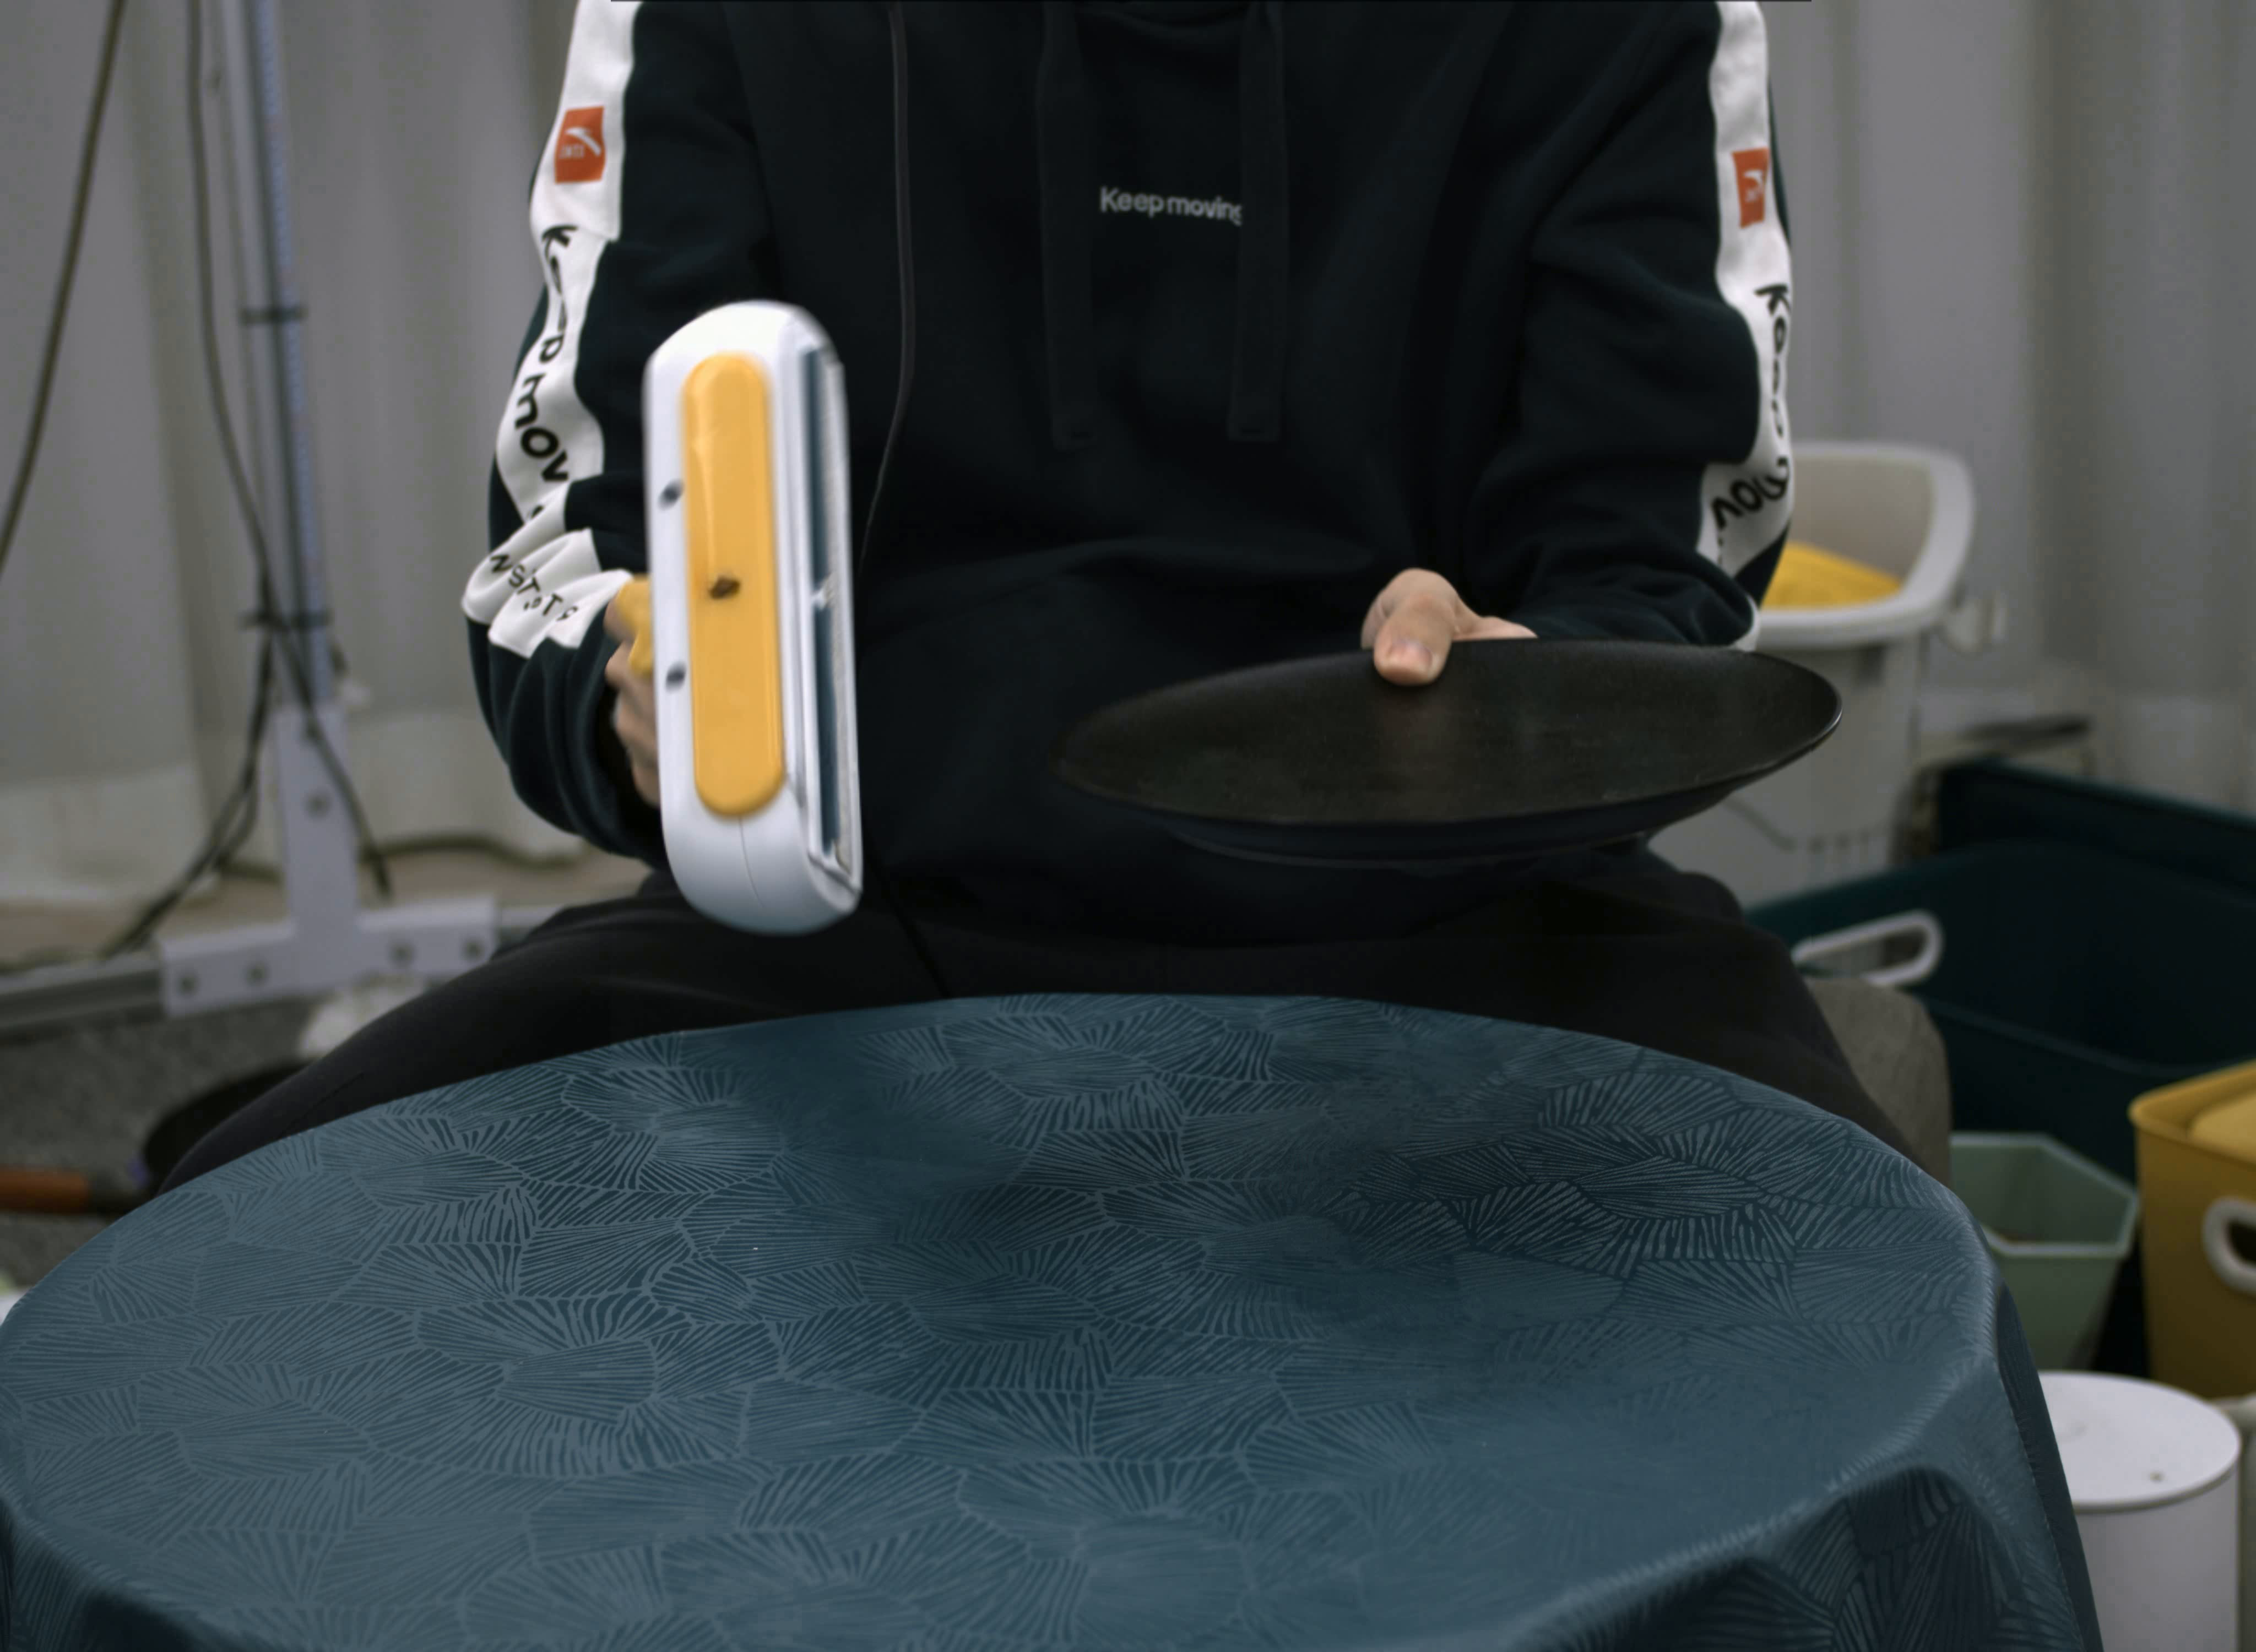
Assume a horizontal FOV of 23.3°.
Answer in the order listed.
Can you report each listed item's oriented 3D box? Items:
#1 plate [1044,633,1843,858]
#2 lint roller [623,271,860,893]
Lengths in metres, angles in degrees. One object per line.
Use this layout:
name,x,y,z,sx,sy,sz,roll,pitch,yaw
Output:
plate,0.097,-0.023,1.673,0.243,0.023,0.246,-4,13,1
lint roller,-0.107,-0.051,1.699,0.074,0.195,0.190,-9,-24,7
